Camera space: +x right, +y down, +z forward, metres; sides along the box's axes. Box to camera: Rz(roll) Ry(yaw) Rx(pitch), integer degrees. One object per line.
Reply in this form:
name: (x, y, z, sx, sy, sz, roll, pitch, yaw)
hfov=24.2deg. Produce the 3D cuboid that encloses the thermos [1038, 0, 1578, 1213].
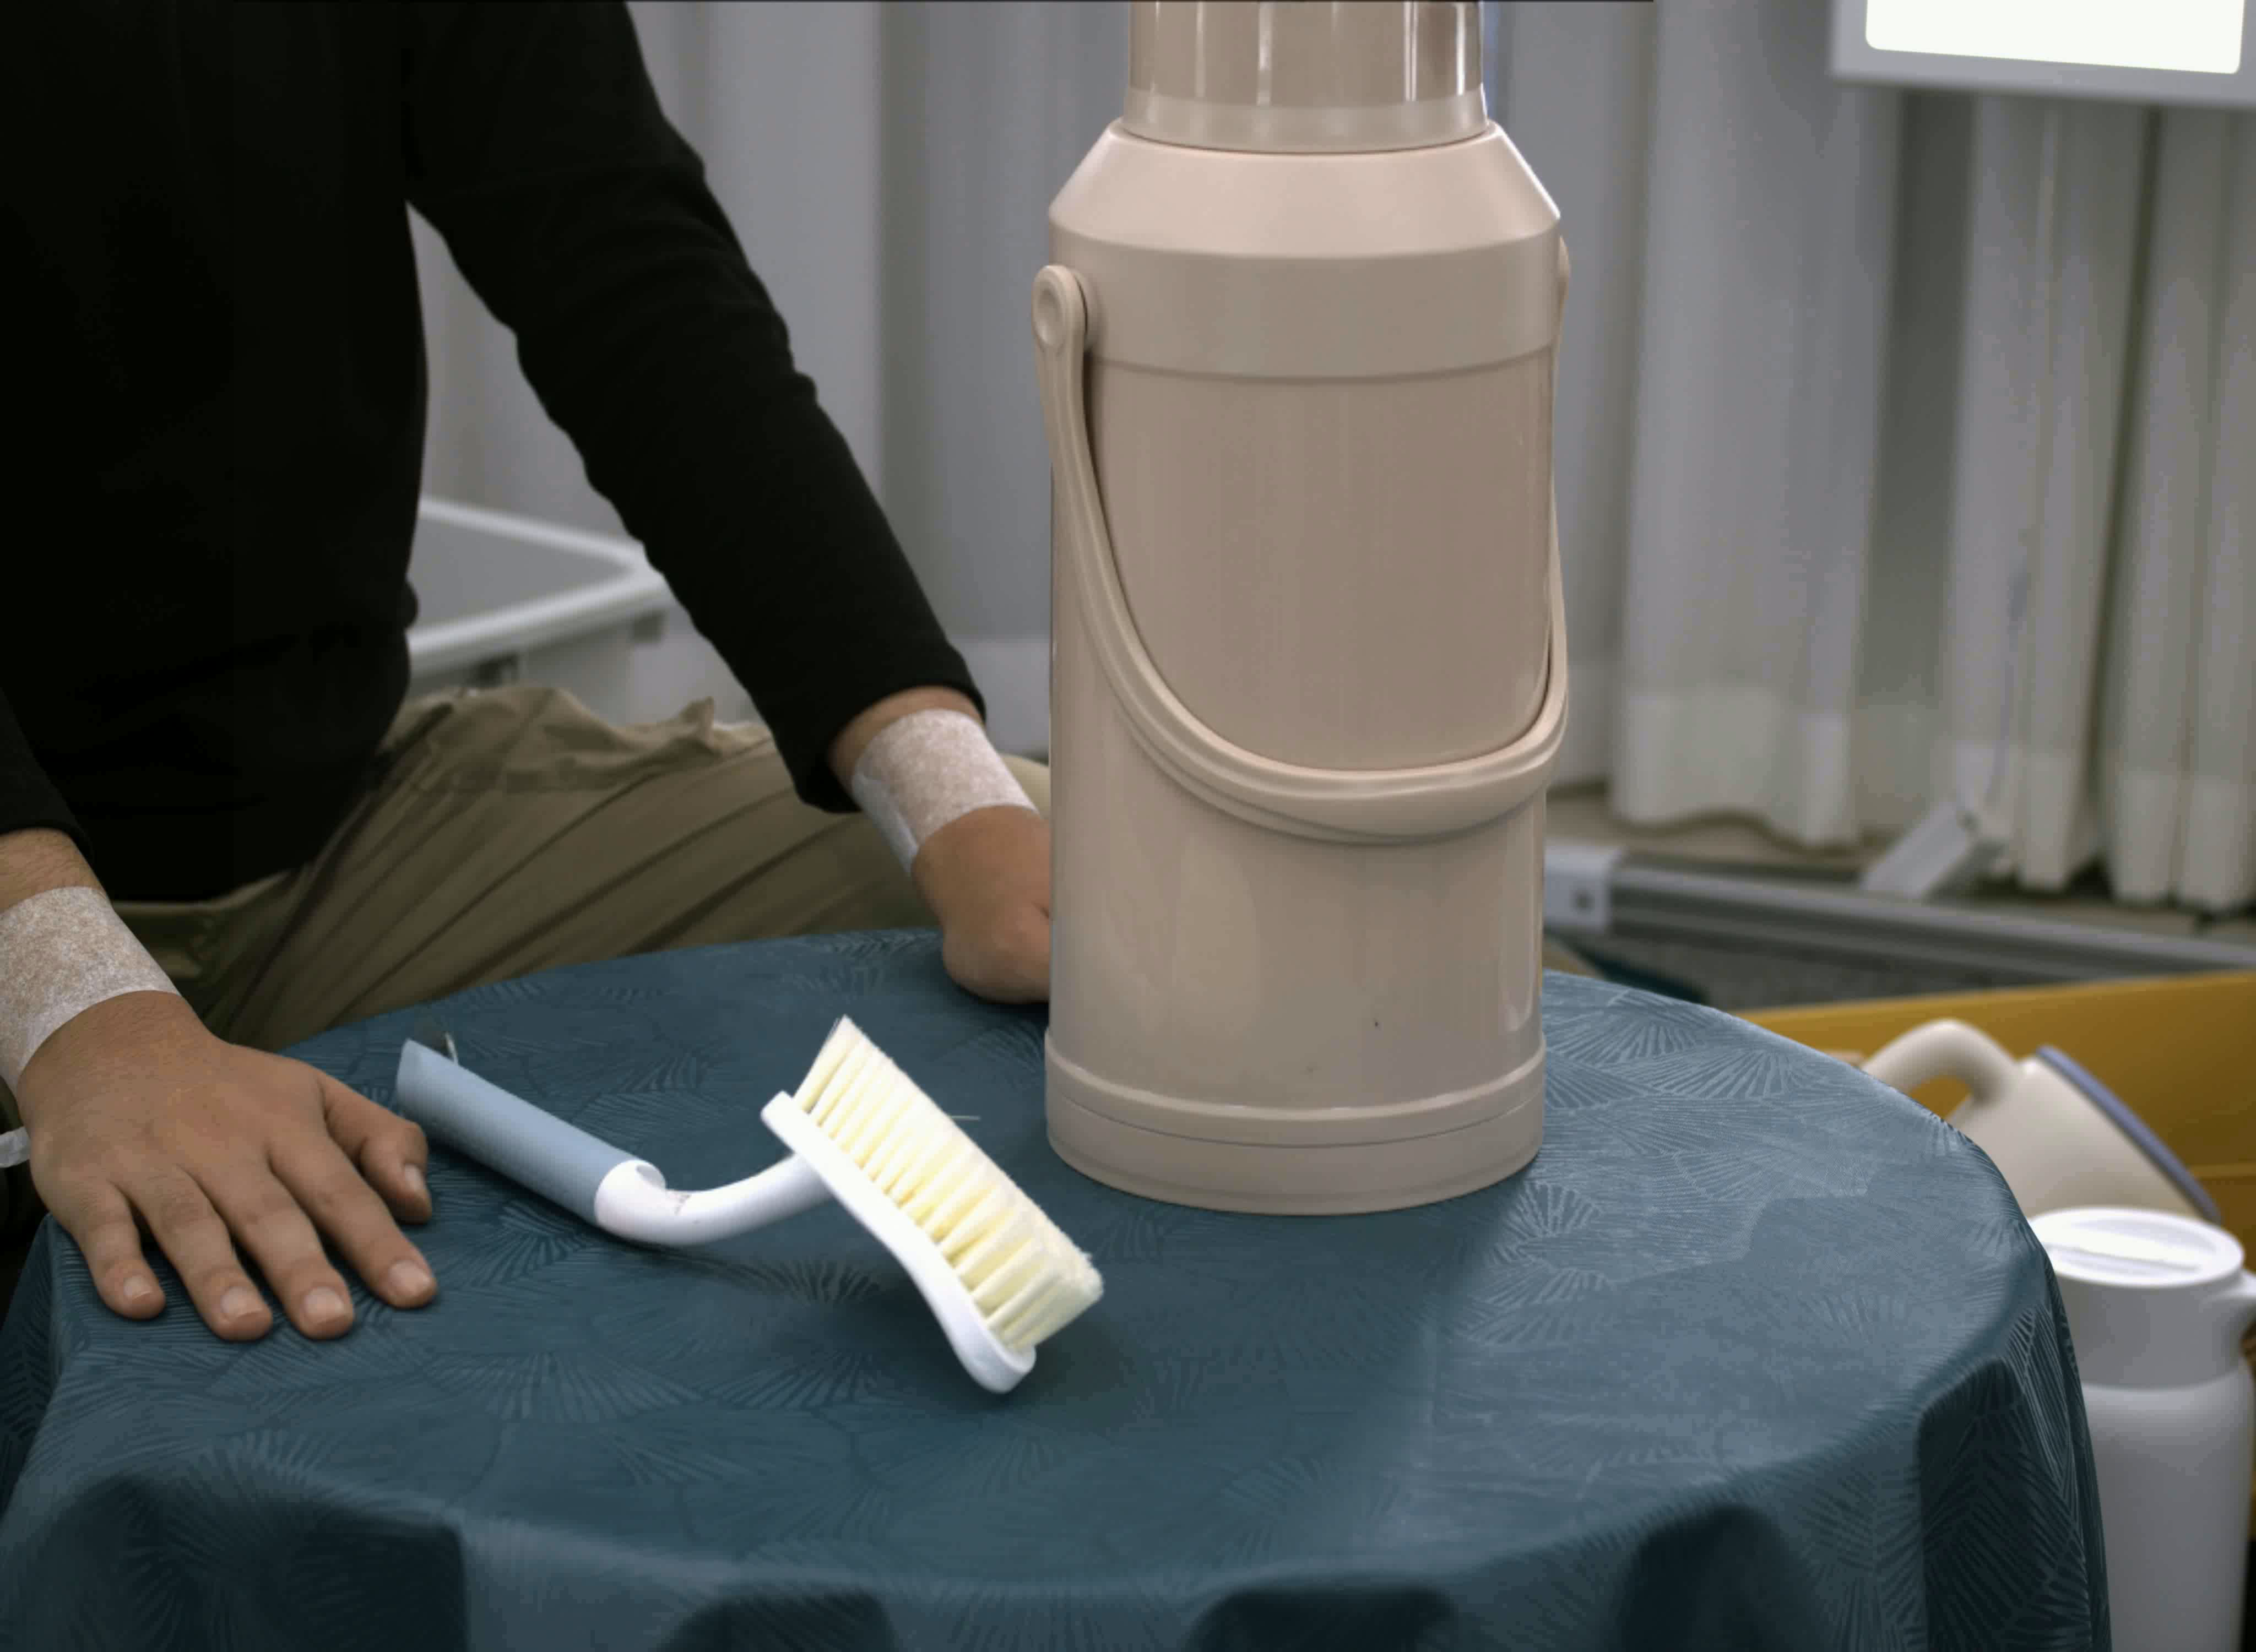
thermos: (0.050, -0.097, 1.633, 0.176, 0.410, 0.204, -10, 19, -27)

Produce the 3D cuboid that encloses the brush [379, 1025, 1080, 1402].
brush: (-0.117, 0.086, 1.565, 0.085, 0.084, 0.321, -16, 24, -34)
